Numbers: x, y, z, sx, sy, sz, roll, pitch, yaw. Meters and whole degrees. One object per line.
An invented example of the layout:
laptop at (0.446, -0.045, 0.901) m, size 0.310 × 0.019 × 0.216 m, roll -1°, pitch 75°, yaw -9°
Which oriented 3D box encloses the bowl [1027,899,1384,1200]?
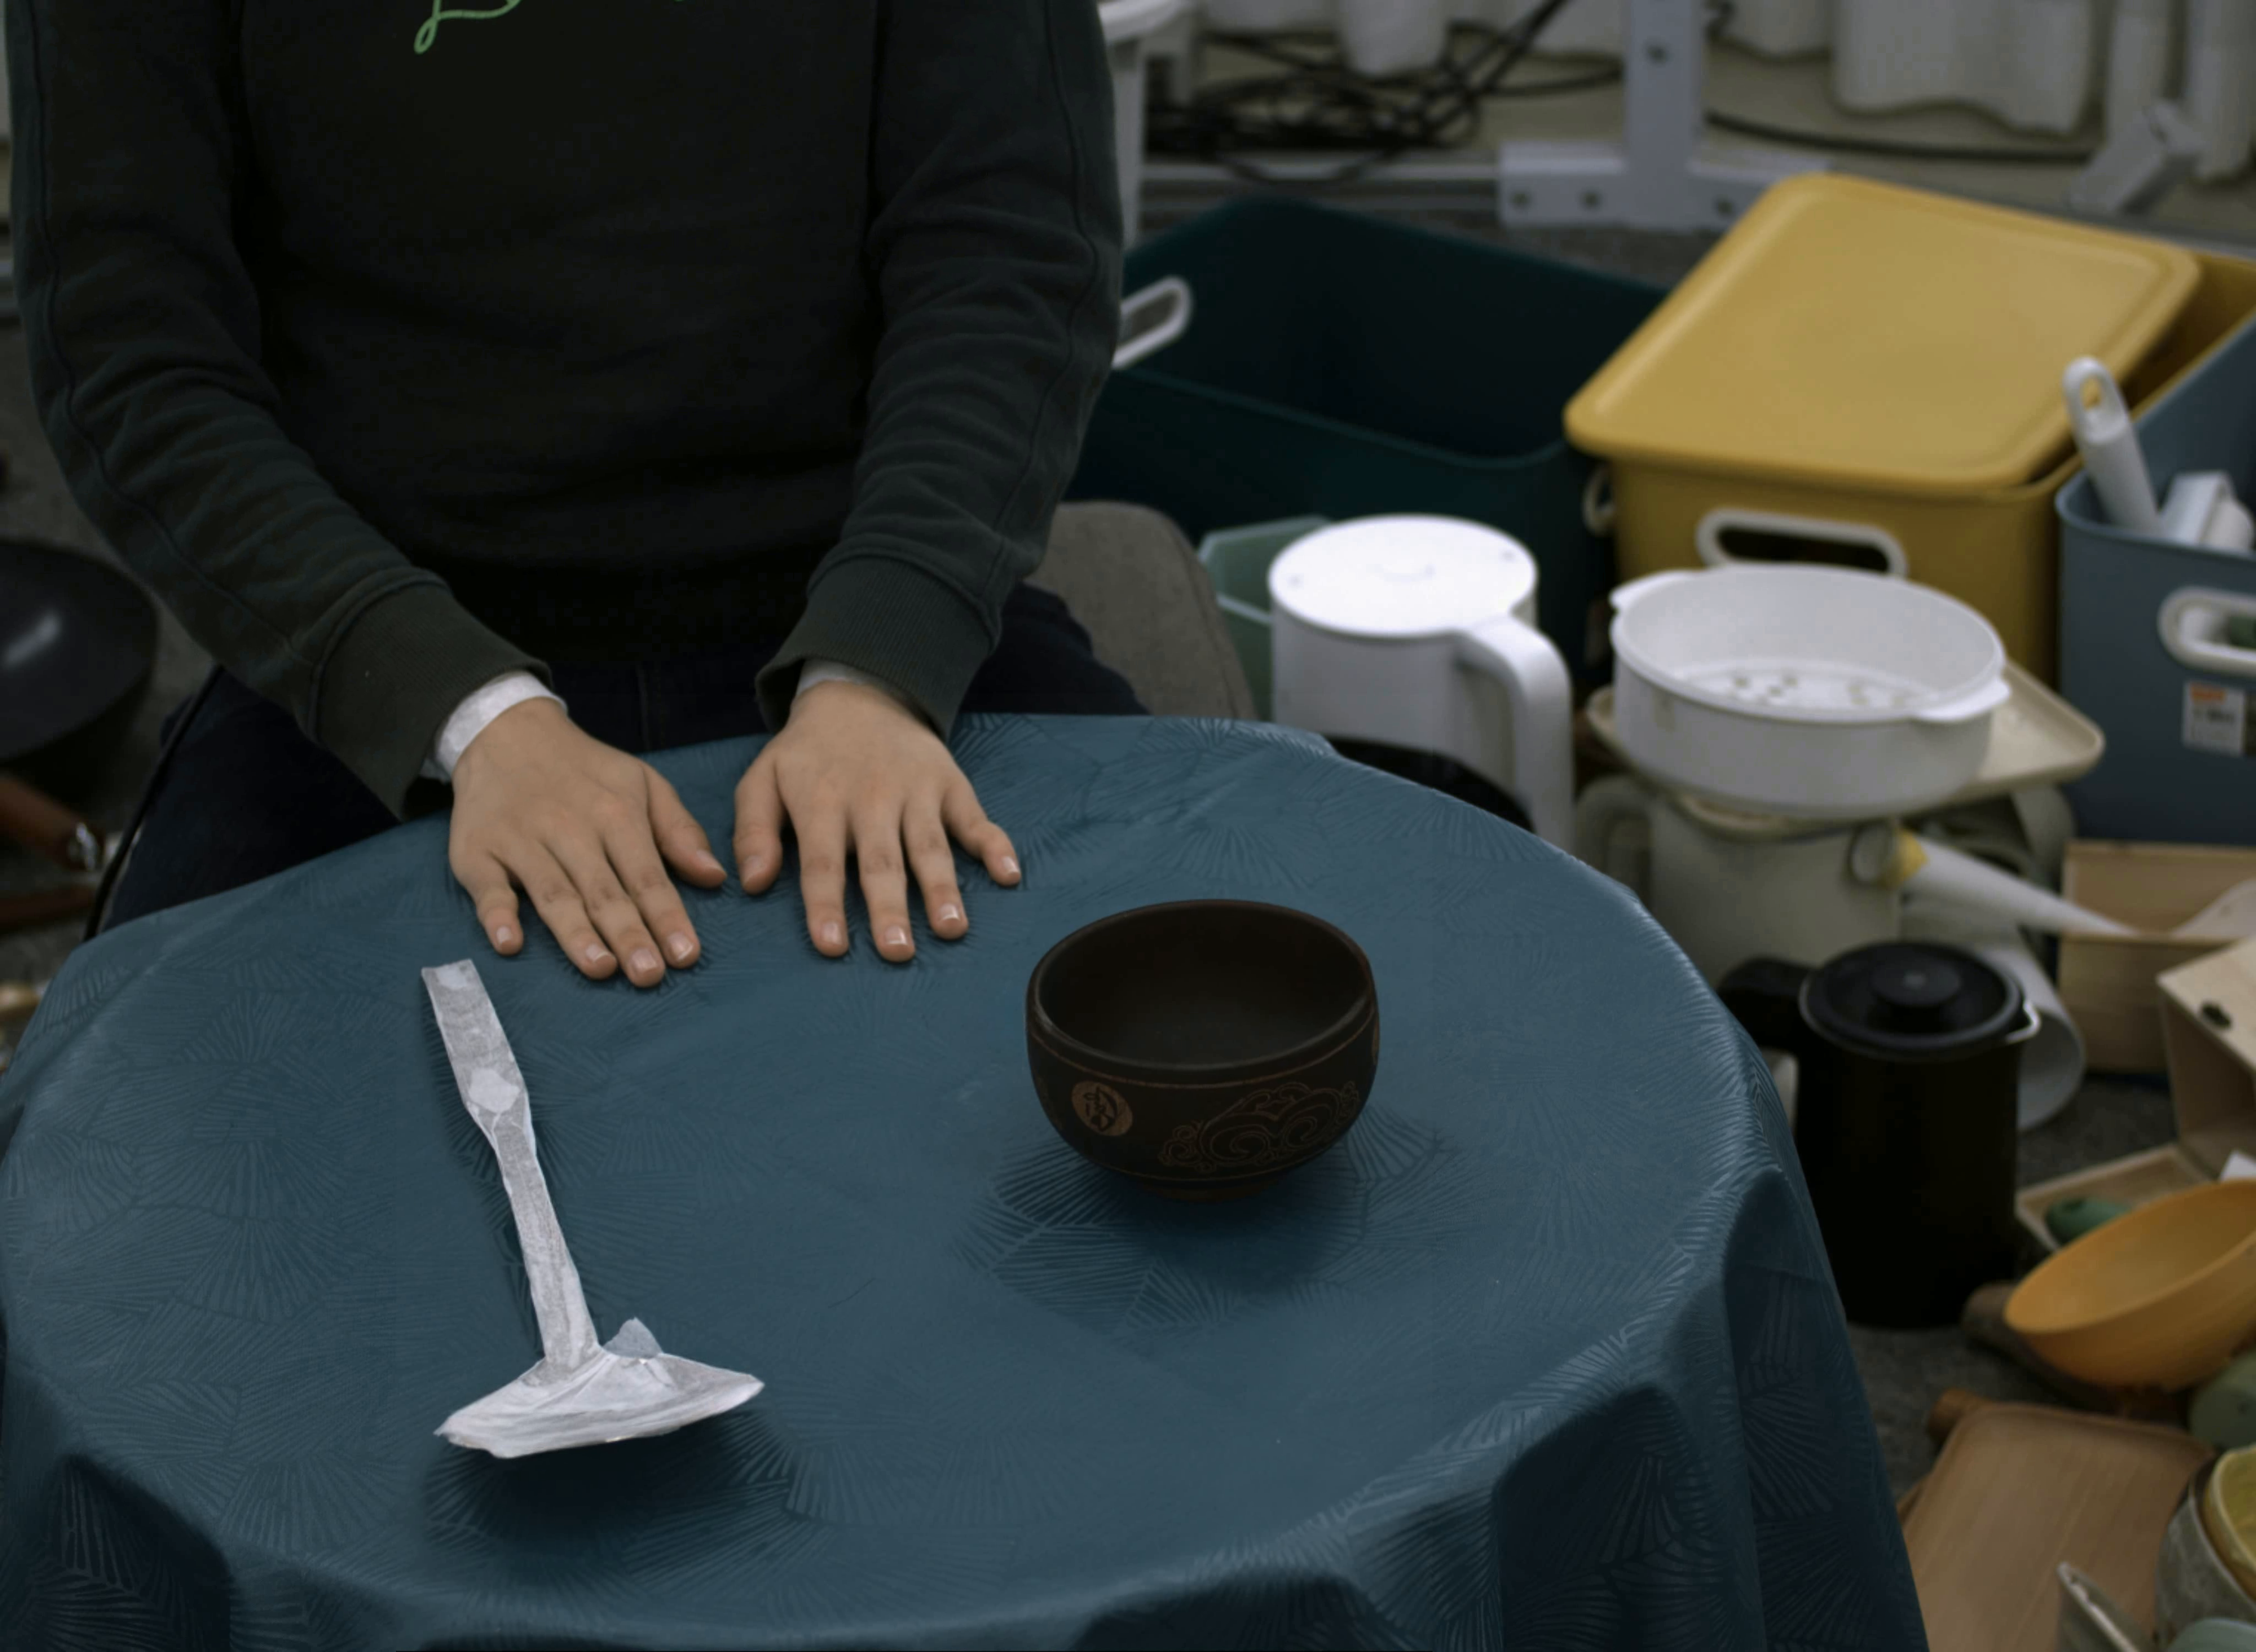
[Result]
bowl at (0.026, 0.080, 1.862) m, size 0.117 × 0.069 × 0.120 m, roll -2°, pitch 25°, yaw 1°

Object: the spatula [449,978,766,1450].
spatula at (-0.193, 0.119, 1.843) m, size 0.098 × 0.044 × 0.369 m, roll -10°, pitch 28°, yaw -10°
